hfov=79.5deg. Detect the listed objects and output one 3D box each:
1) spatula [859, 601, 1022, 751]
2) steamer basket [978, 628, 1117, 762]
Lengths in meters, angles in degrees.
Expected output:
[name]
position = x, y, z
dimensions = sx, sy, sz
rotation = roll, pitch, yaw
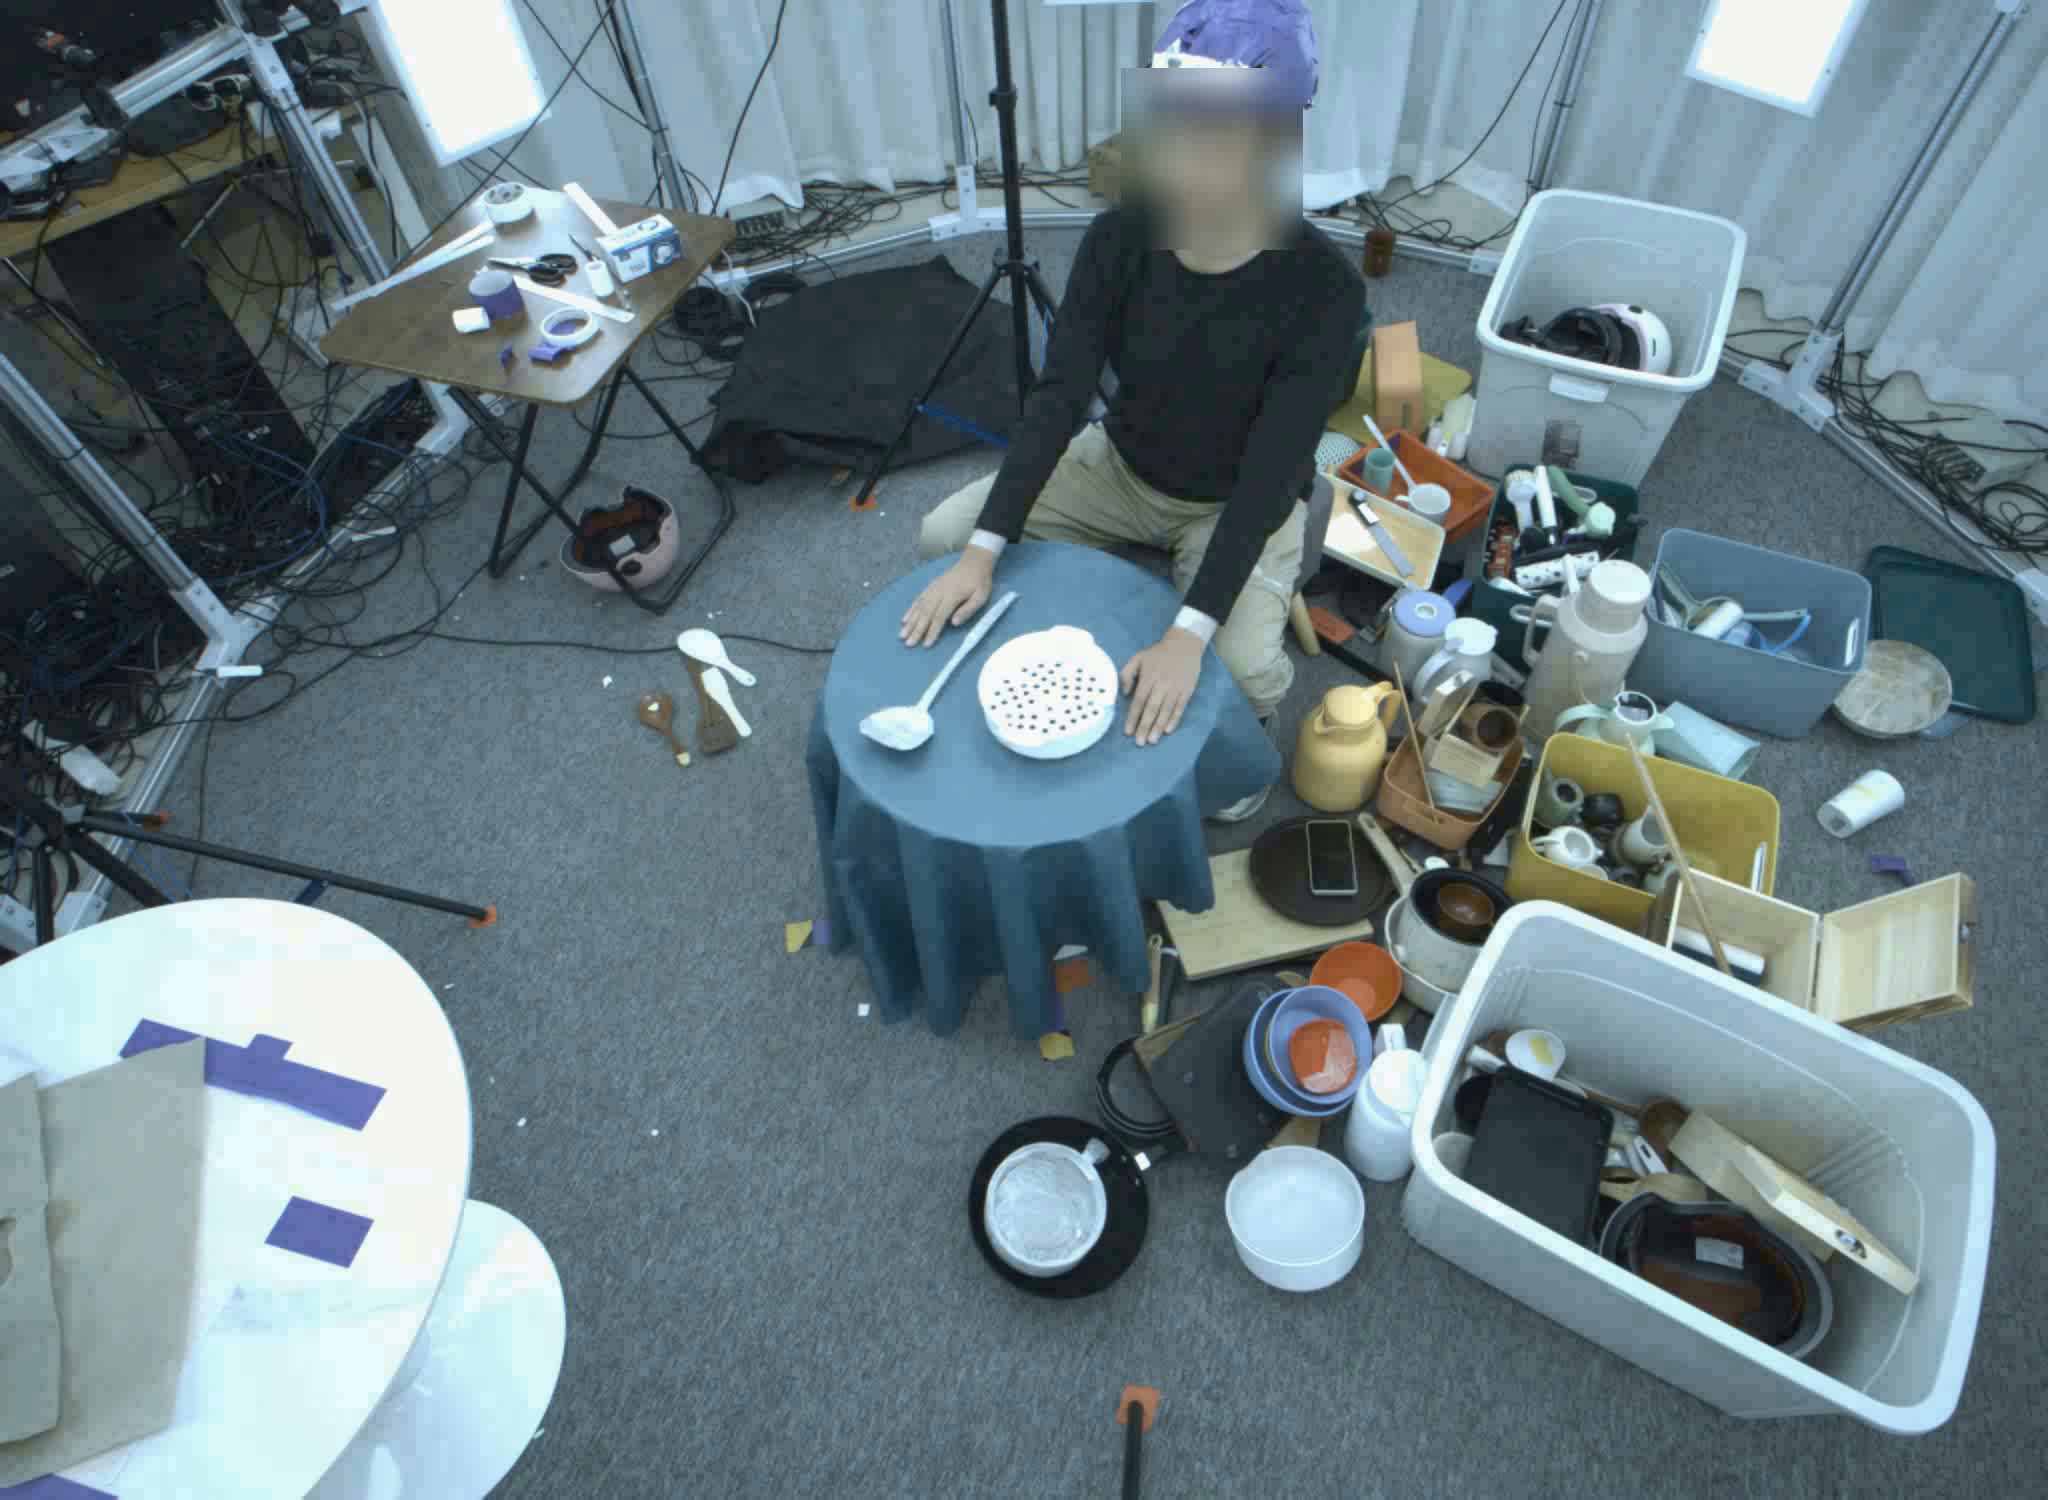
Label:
[spatula]
position = -0.110, -0.126, 1.857
dimensions = 0.097, 0.045, 0.366
rotation = 24, 59, 21
[steamer basket]
position = 0.034, -0.076, 1.797
dimensions = 0.200, 0.070, 0.230
rotation = 18, 57, 13
